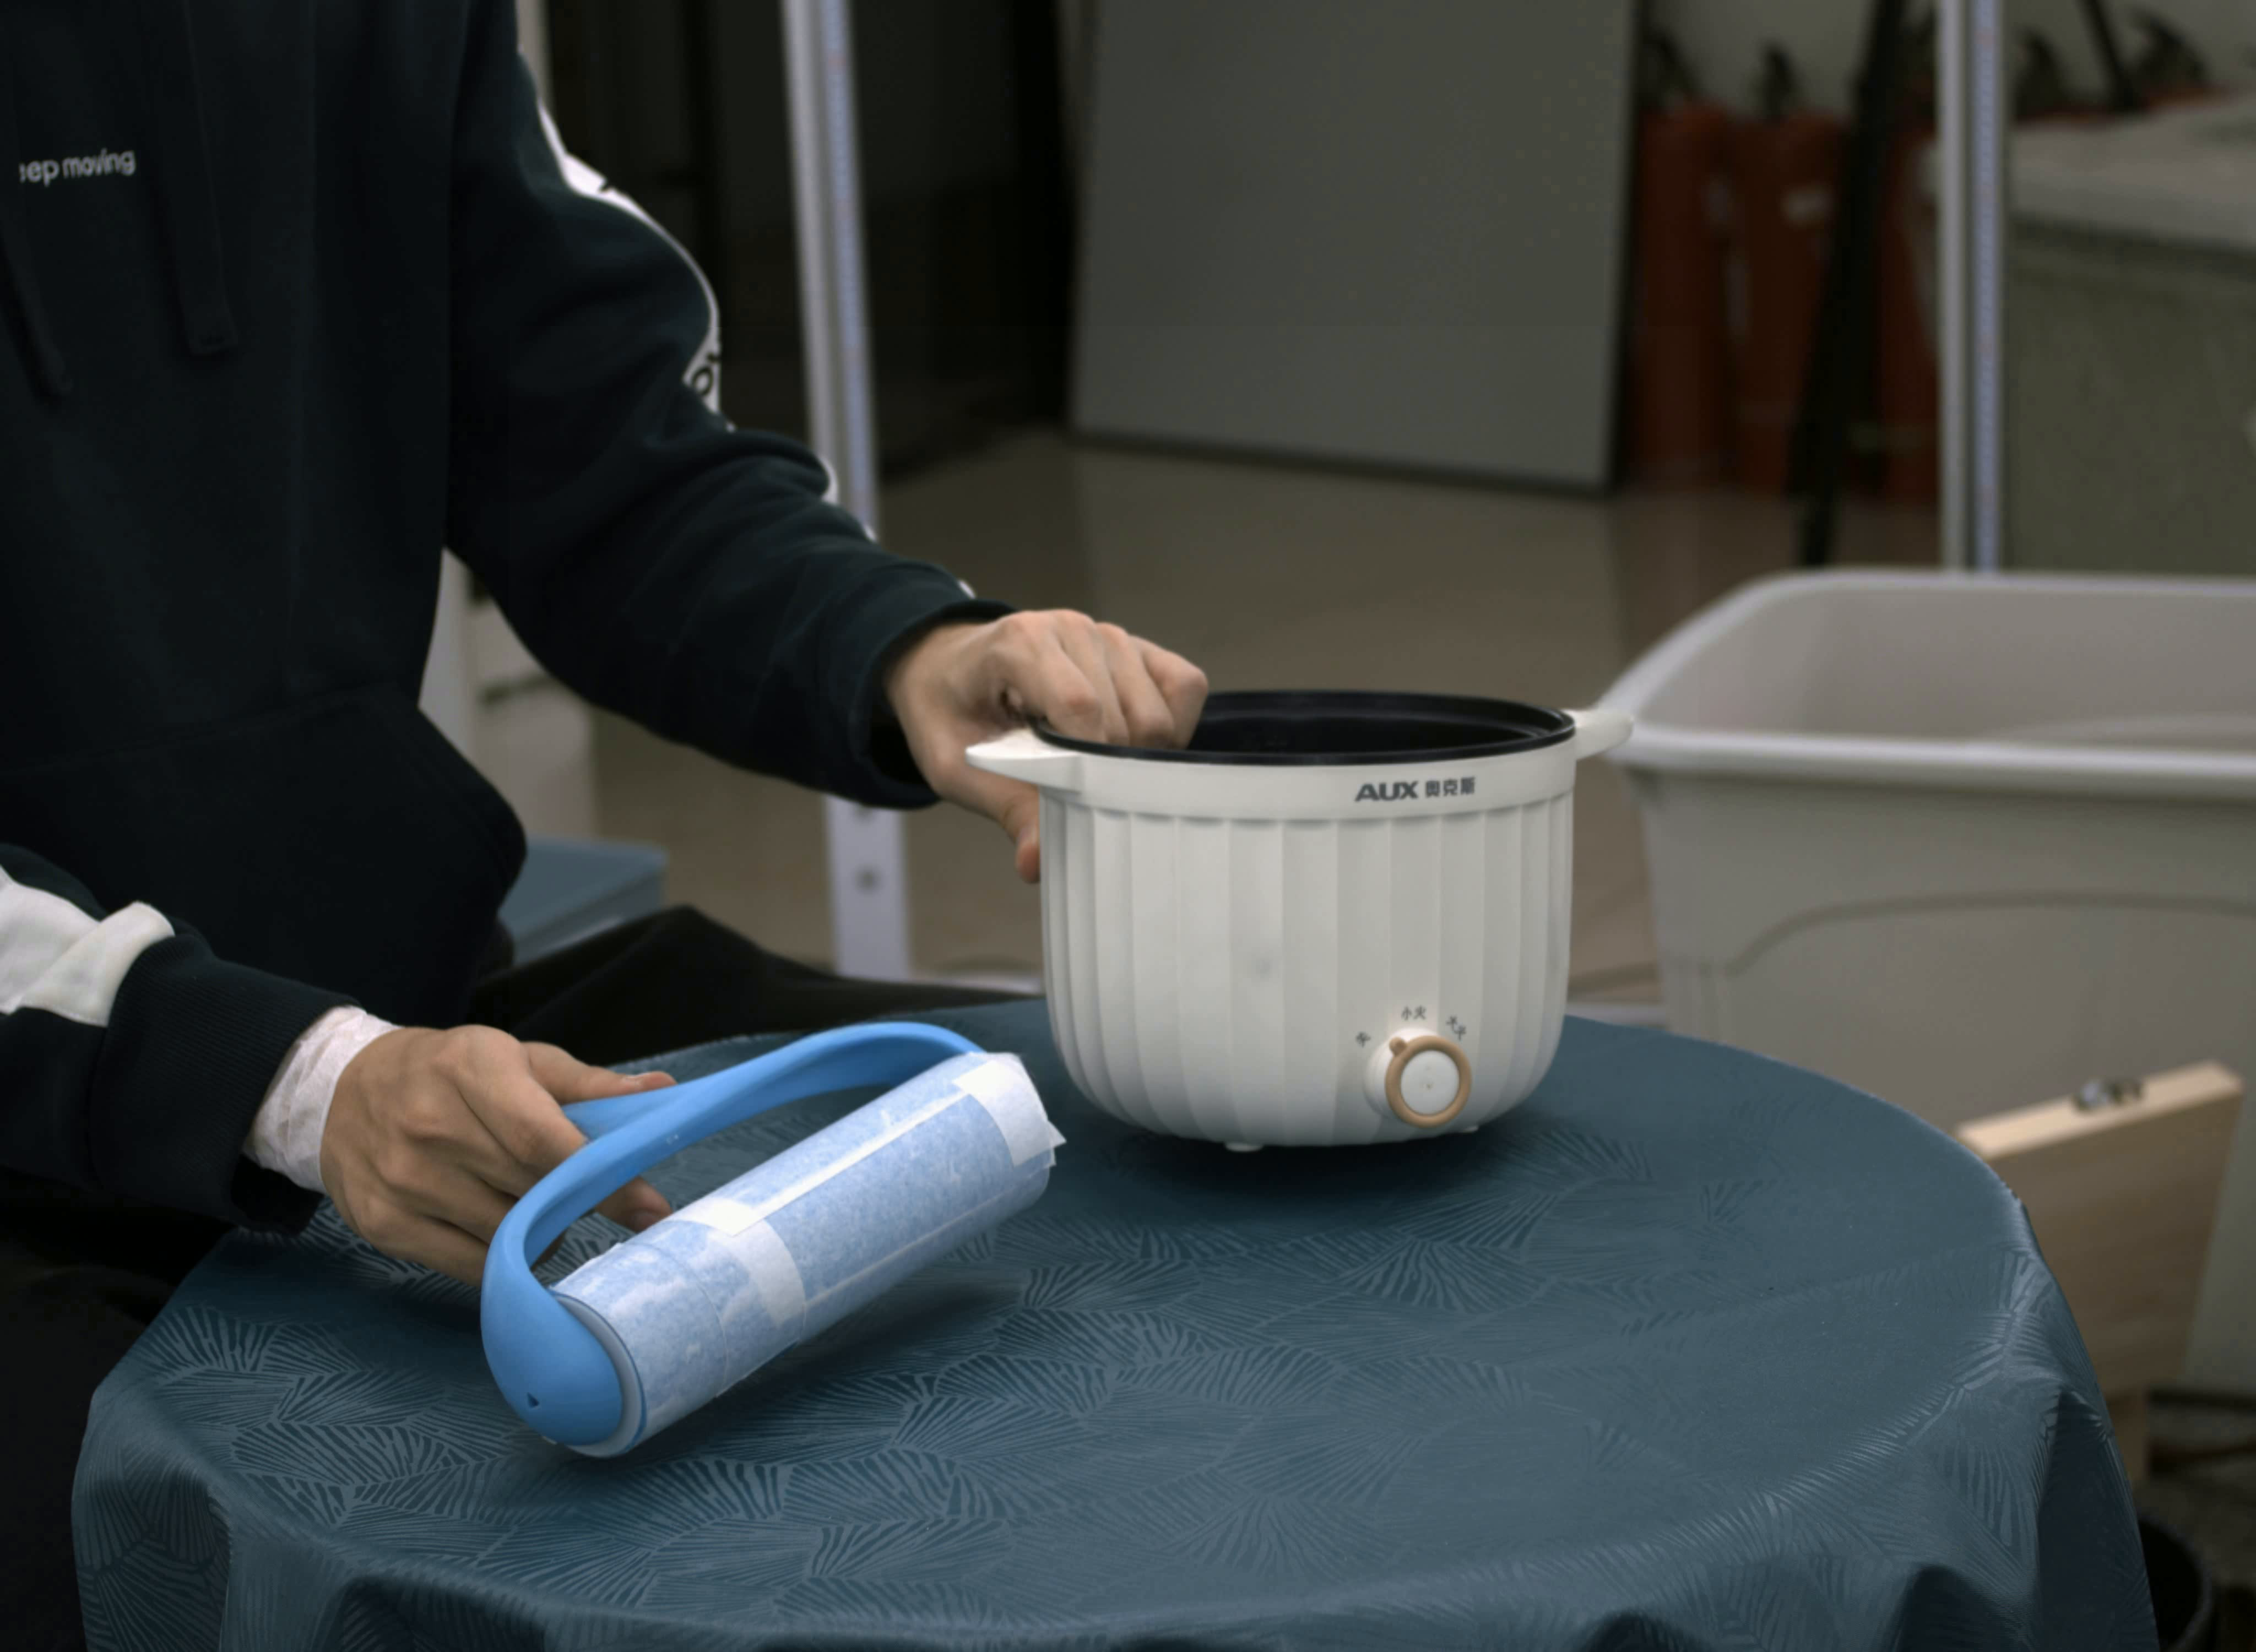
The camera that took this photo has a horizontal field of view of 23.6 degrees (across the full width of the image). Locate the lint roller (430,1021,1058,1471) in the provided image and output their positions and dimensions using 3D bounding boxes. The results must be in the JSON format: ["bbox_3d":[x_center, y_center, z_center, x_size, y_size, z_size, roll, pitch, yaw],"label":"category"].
[{"bbox_3d":[-0.146,0.116,1.644,0.181,0.068,0.225,11,28,33],"label":"lint roller"}]

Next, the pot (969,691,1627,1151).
[{"bbox_3d":[0.063,0.031,1.796,0.235,0.144,0.192,-5,5,-21],"label":"pot"}]
